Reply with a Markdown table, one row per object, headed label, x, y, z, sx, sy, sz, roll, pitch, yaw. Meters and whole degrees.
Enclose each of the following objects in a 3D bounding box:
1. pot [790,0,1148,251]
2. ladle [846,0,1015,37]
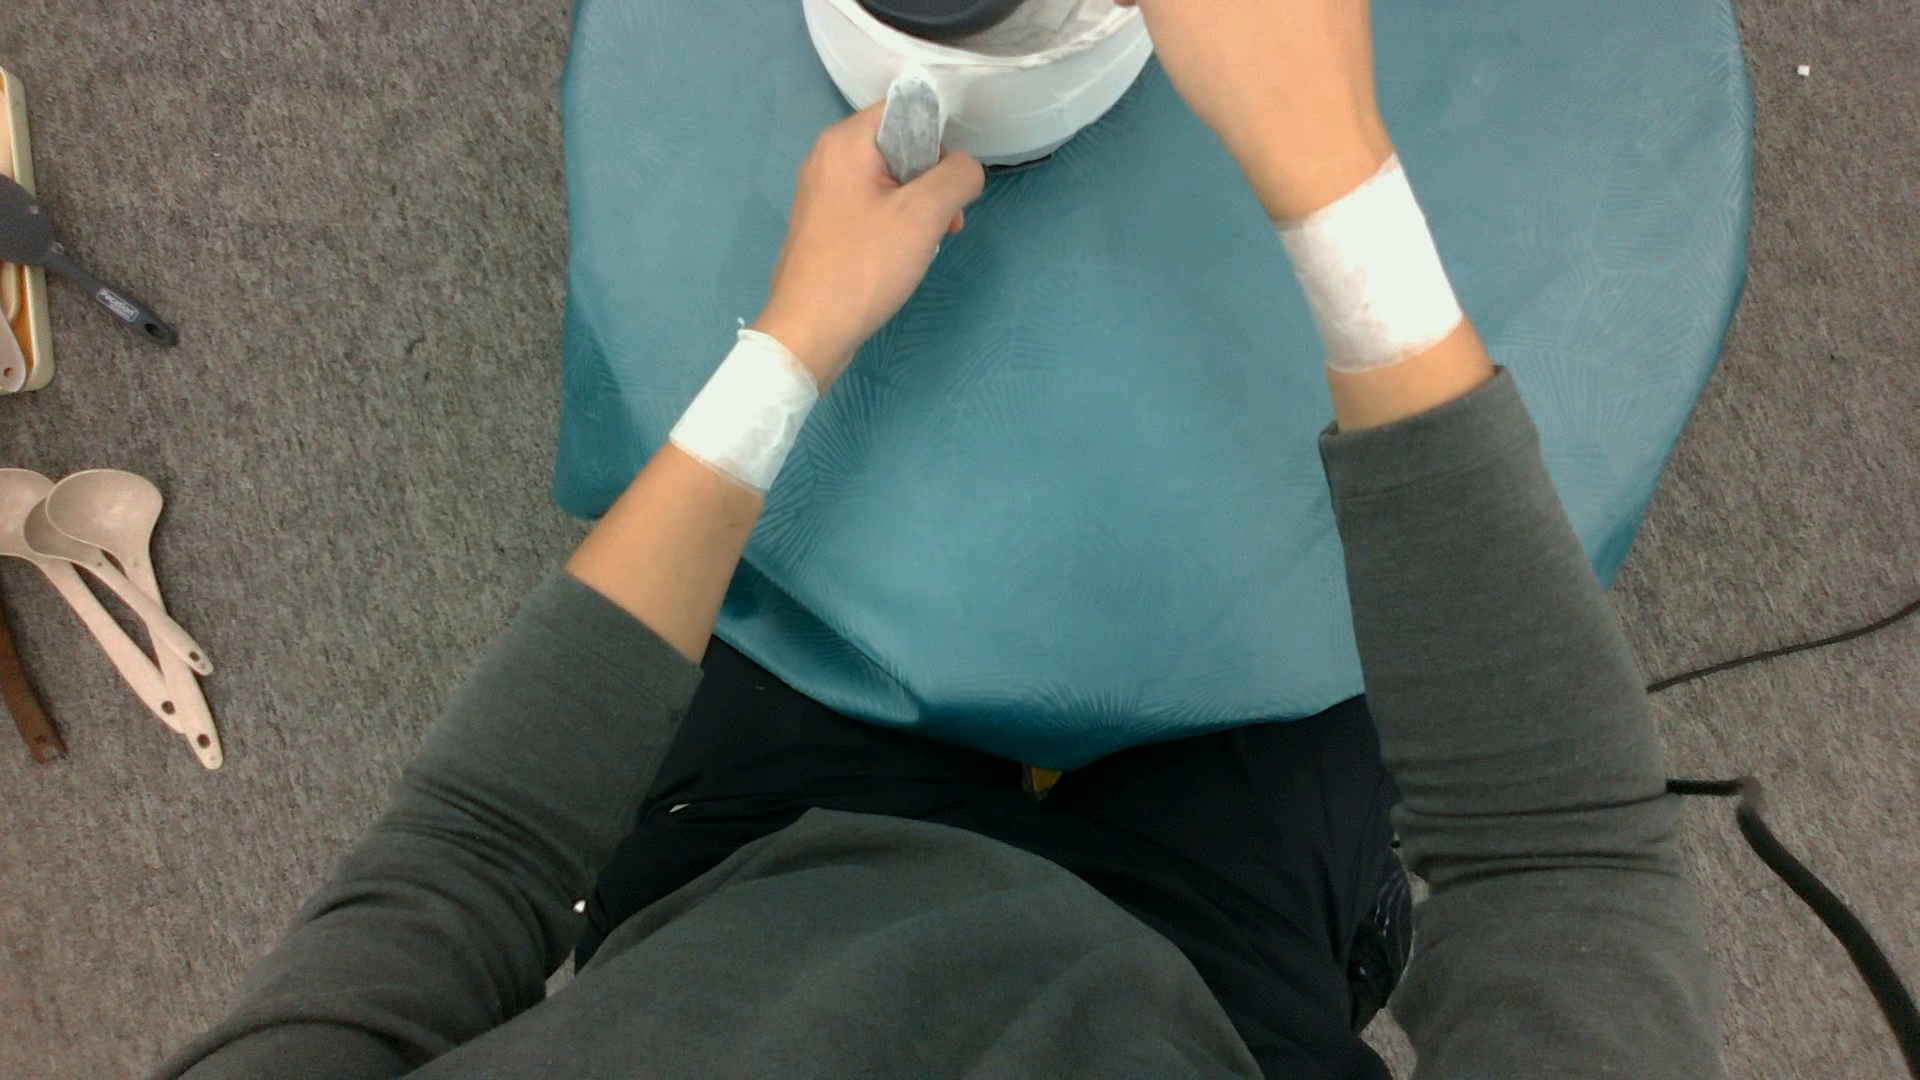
| label | x | y | z | sx | sy | sz | roll | pitch | yaw |
| --- | --- | --- | --- | --- | --- | --- | --- | --- | --- |
| pot | -0.003 | -0.253 | 0.628 | 0.179 | 0.136 | 0.234 | 16 | 86 | 0 |
| ladle | 0.029 | -0.239 | 0.492 | 0.086 | 0.314 | 0.064 | -32 | 104 | -13 |
